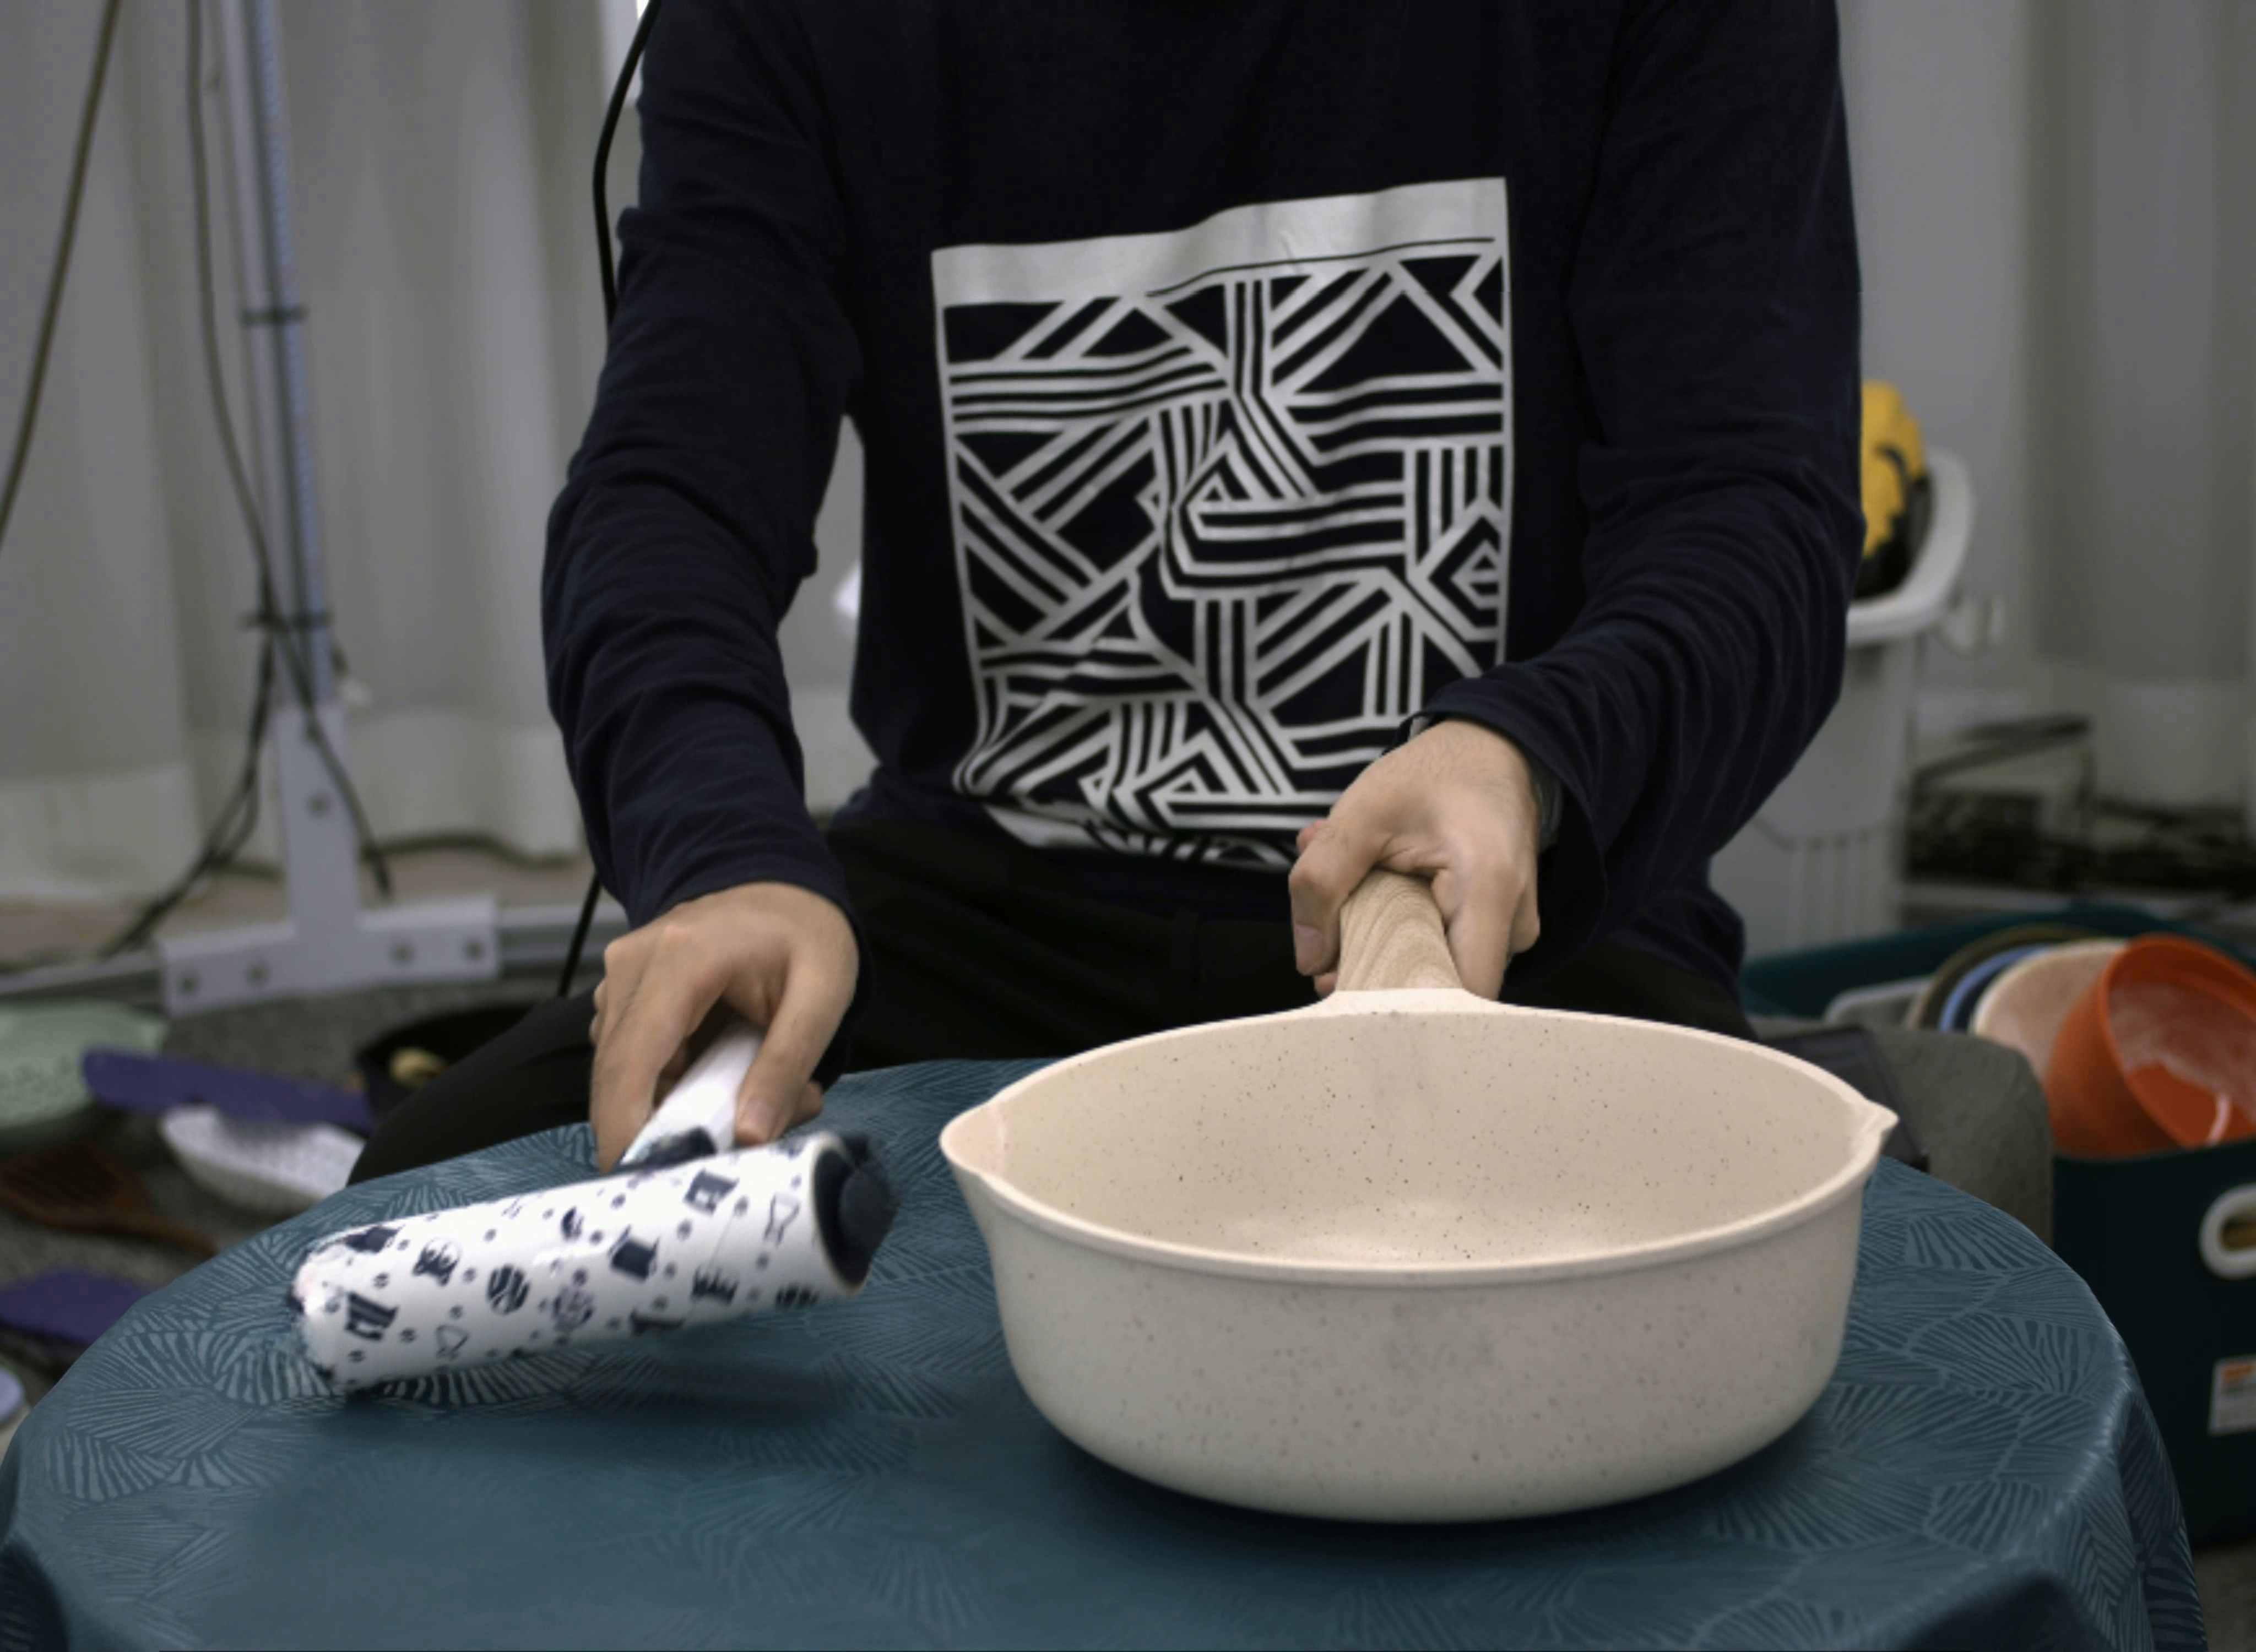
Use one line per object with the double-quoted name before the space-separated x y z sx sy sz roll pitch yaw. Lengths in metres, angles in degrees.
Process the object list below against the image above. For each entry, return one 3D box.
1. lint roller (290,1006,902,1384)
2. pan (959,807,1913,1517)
"lint roller" -0.134 0.093 1.651 0.176 0.050 0.248 -14 13 15
"pan" 0.085 0.092 1.594 0.262 0.101 0.437 -3 13 0
